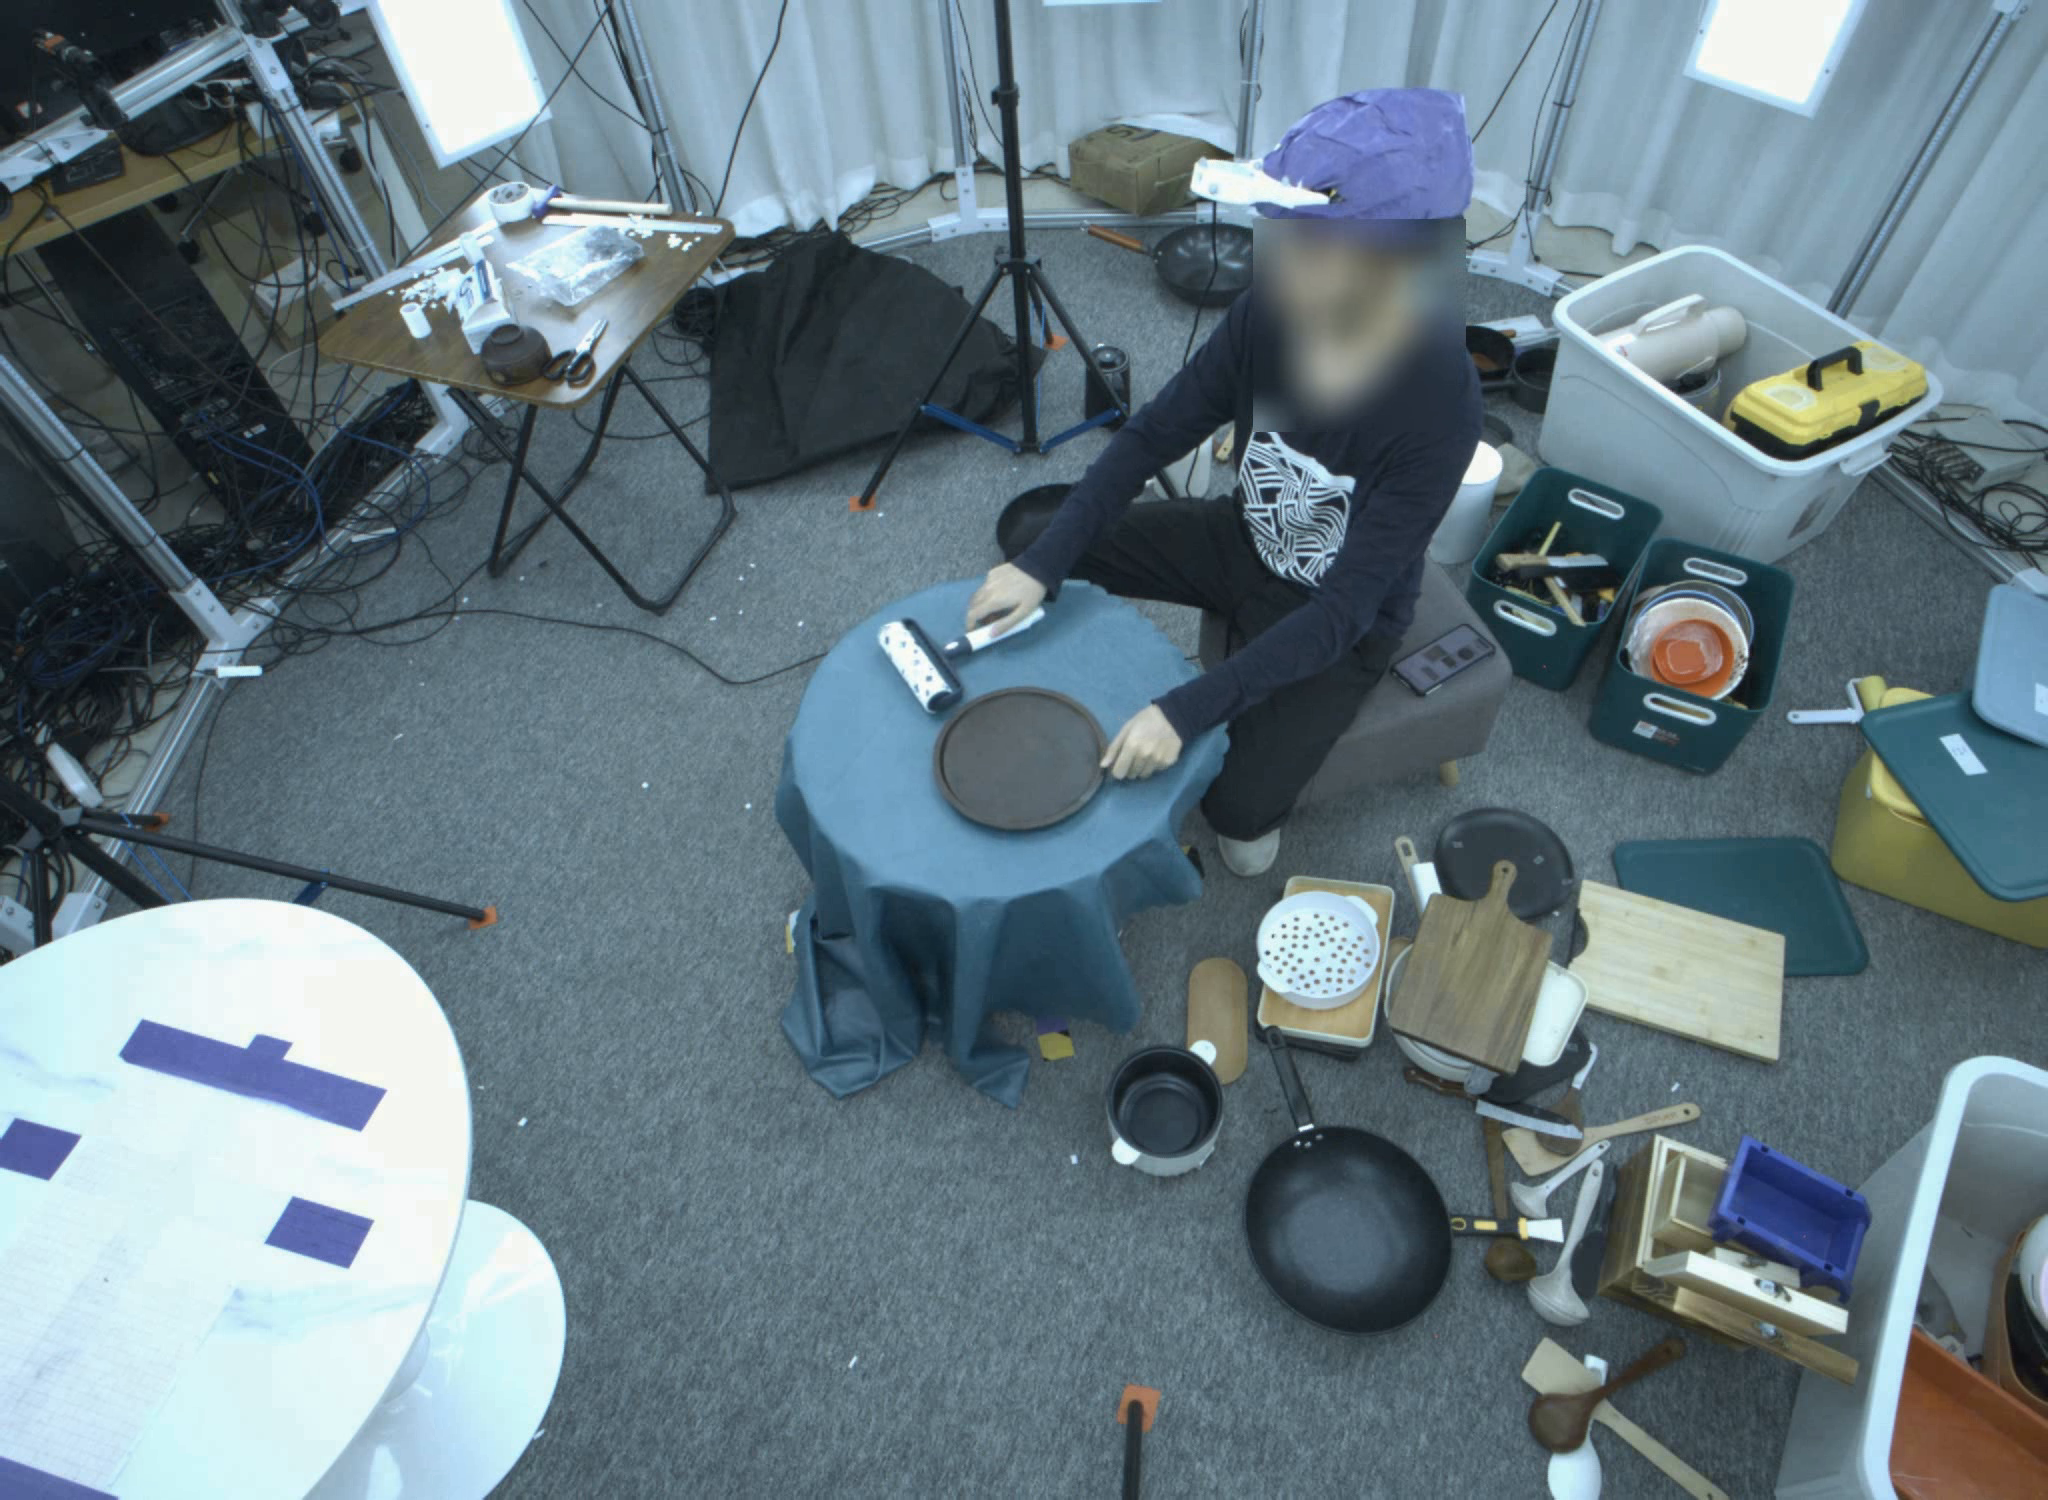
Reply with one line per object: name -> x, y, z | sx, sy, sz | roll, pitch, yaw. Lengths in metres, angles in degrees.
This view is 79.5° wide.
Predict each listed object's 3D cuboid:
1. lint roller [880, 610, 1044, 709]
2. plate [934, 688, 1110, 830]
lint roller -> -0.079, -0.171, 1.894 | 0.249, 0.051, 0.173 | -26, 57, -19
plate -> -0.003, 0.011, 1.773 | 0.255, 0.029, 0.252 | 1, 53, 0
